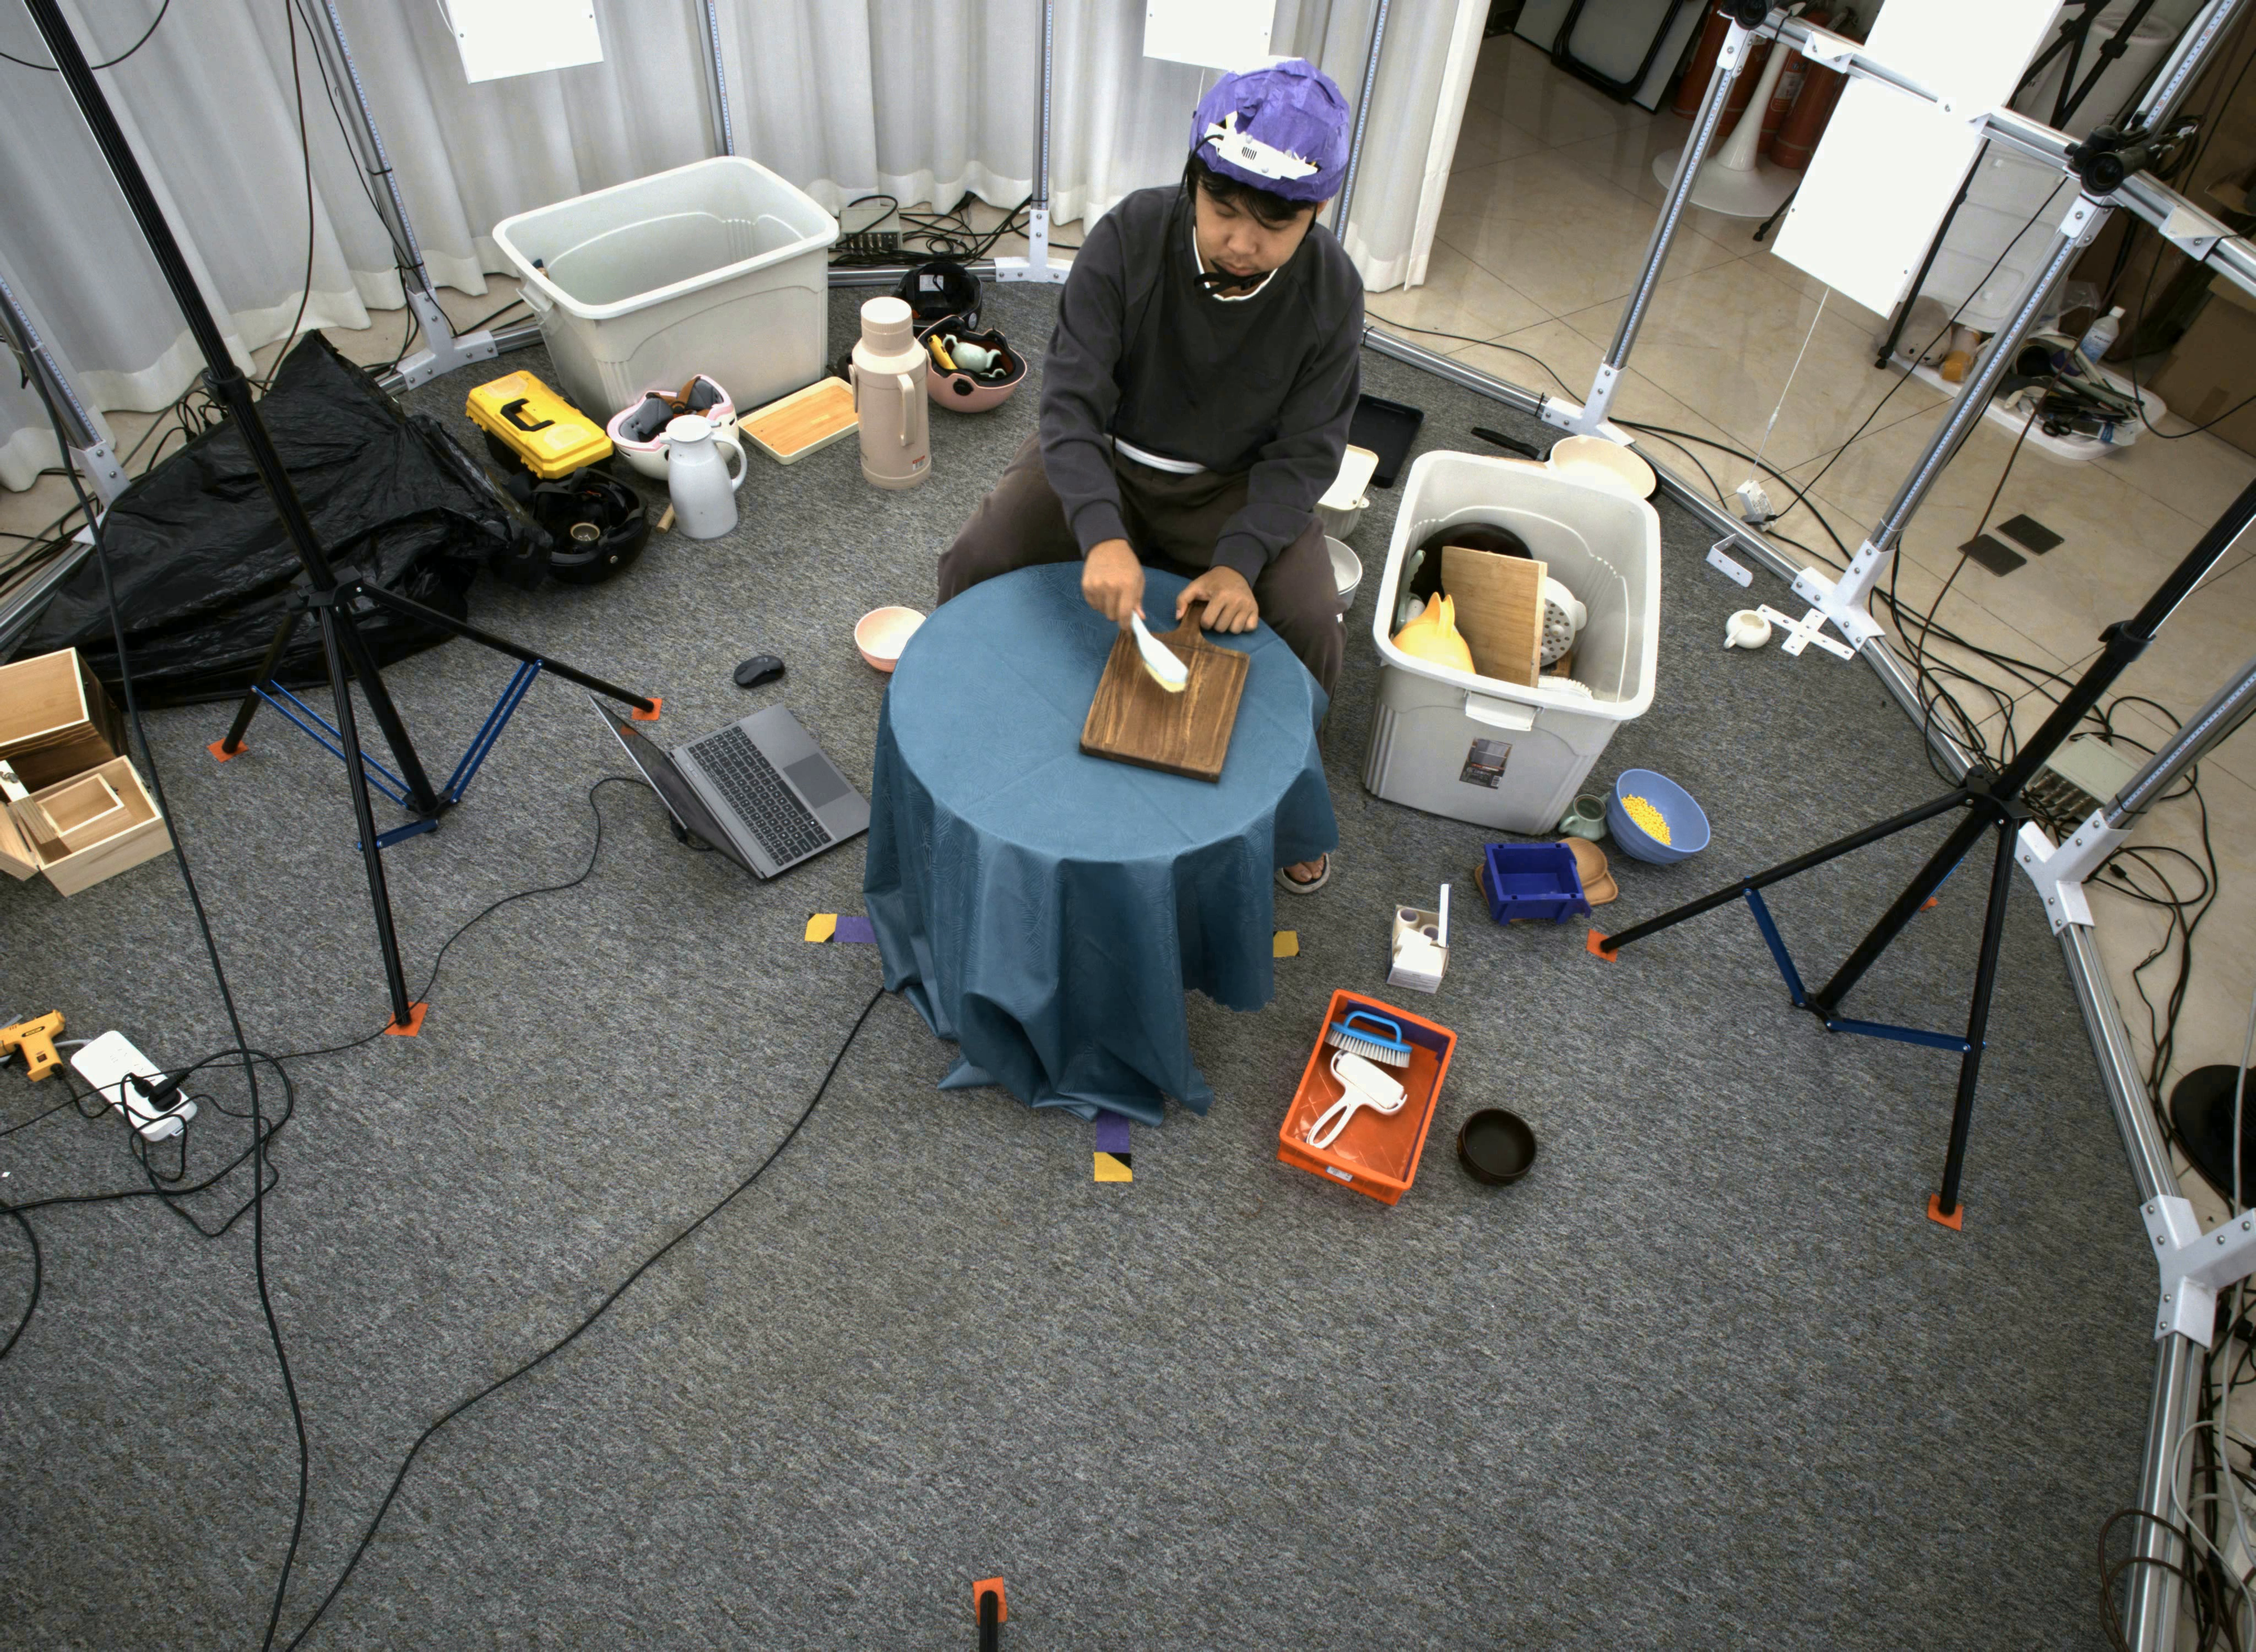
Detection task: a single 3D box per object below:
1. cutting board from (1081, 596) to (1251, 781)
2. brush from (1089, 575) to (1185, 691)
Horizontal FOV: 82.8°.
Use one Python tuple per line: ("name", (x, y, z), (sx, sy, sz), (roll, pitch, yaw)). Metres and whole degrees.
("cutting board", (0.069, -0.213, 1.842), (0.201, 0.022, 0.360), (13, 49, 6))
("brush", (0.009, -0.276, 1.815), (0.038, 0.048, 0.233), (-24, 60, -20))
